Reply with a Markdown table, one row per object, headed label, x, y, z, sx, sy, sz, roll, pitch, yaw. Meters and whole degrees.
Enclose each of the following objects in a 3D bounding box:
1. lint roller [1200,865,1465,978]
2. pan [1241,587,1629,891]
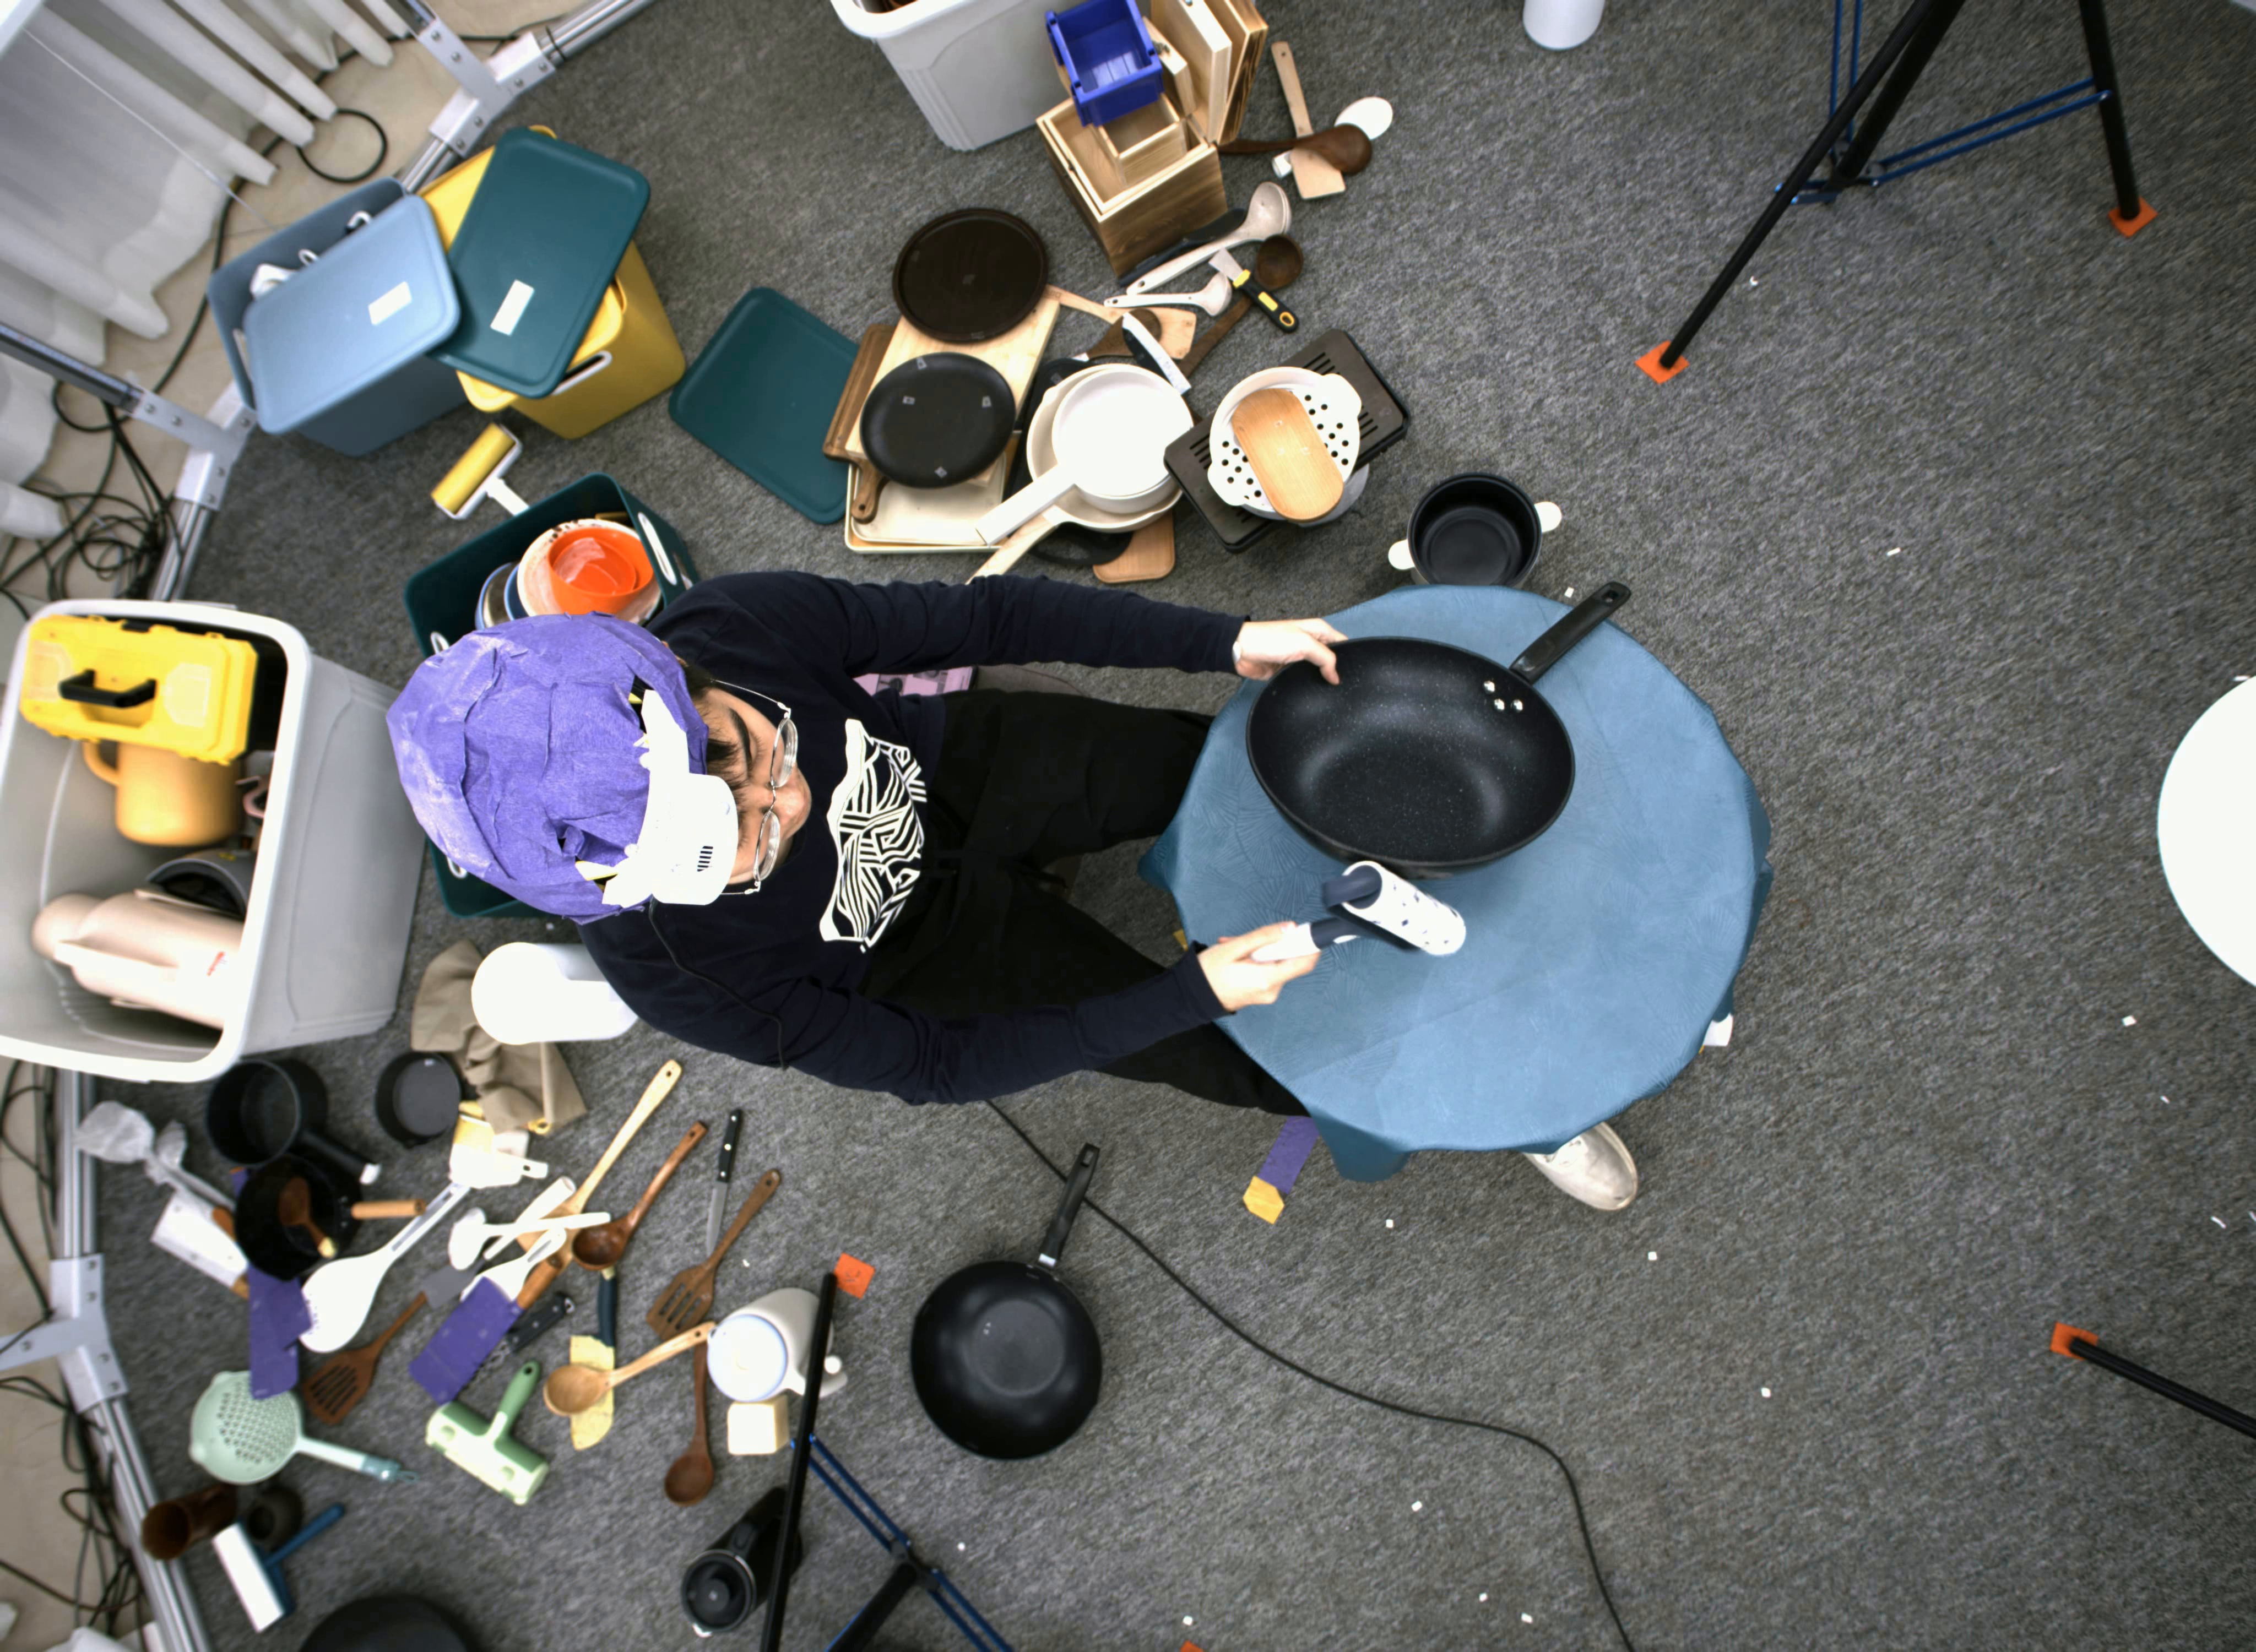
| label | x | y | z | sx | sy | sz | roll | pitch | yaw |
| --- | --- | --- | --- | --- | --- | --- | --- | --- | --- |
| lint roller | 0.174 | 0.111 | 1.310 | 0.251 | 0.177 | 0.049 | -21 | 58 | 33 |
| pan | 0.325 | -0.096 | 1.349 | 0.470 | 0.114 | 0.307 | -33 | 58 | -23 |
